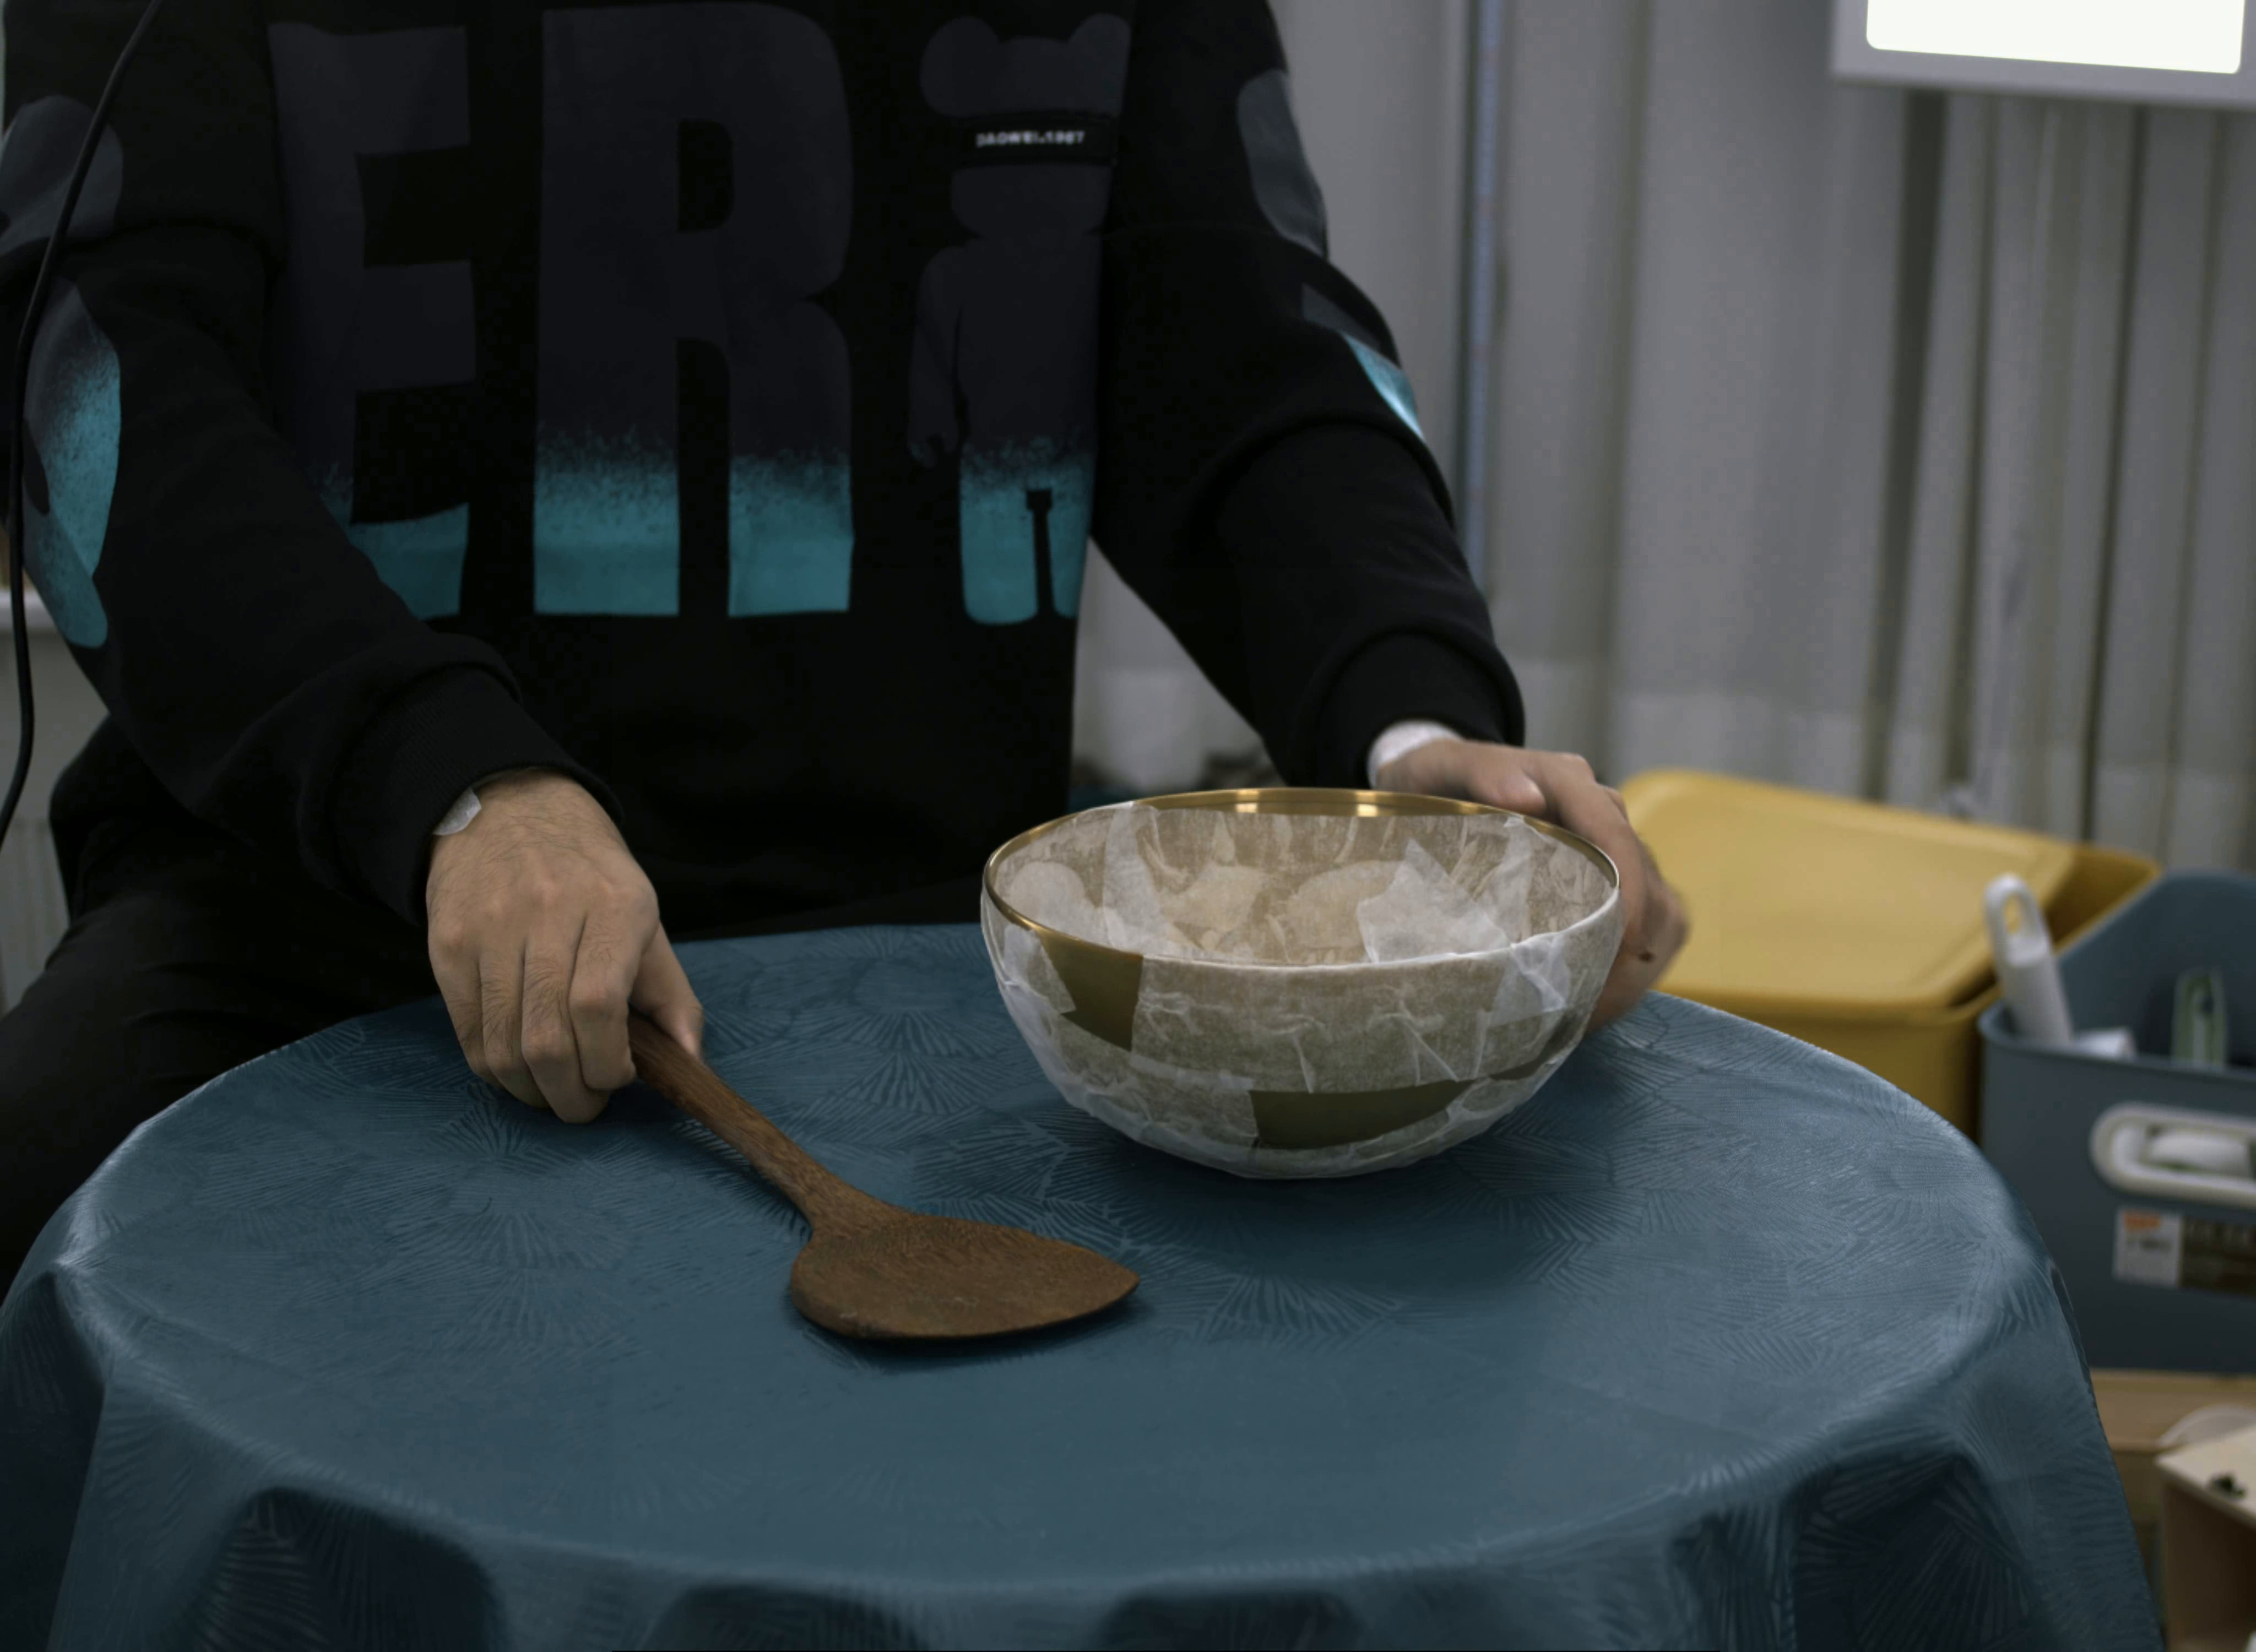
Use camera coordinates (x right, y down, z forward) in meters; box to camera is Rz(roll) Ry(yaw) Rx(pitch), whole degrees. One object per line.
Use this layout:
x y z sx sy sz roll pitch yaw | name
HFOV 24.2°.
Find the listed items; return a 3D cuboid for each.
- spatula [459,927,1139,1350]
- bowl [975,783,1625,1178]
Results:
-0.125 0.091 1.648 0.096 0.016 0.381 -8 21 -30 | spatula
0.055 0.056 1.658 0.214 0.095 0.213 -1 15 1 | bowl
